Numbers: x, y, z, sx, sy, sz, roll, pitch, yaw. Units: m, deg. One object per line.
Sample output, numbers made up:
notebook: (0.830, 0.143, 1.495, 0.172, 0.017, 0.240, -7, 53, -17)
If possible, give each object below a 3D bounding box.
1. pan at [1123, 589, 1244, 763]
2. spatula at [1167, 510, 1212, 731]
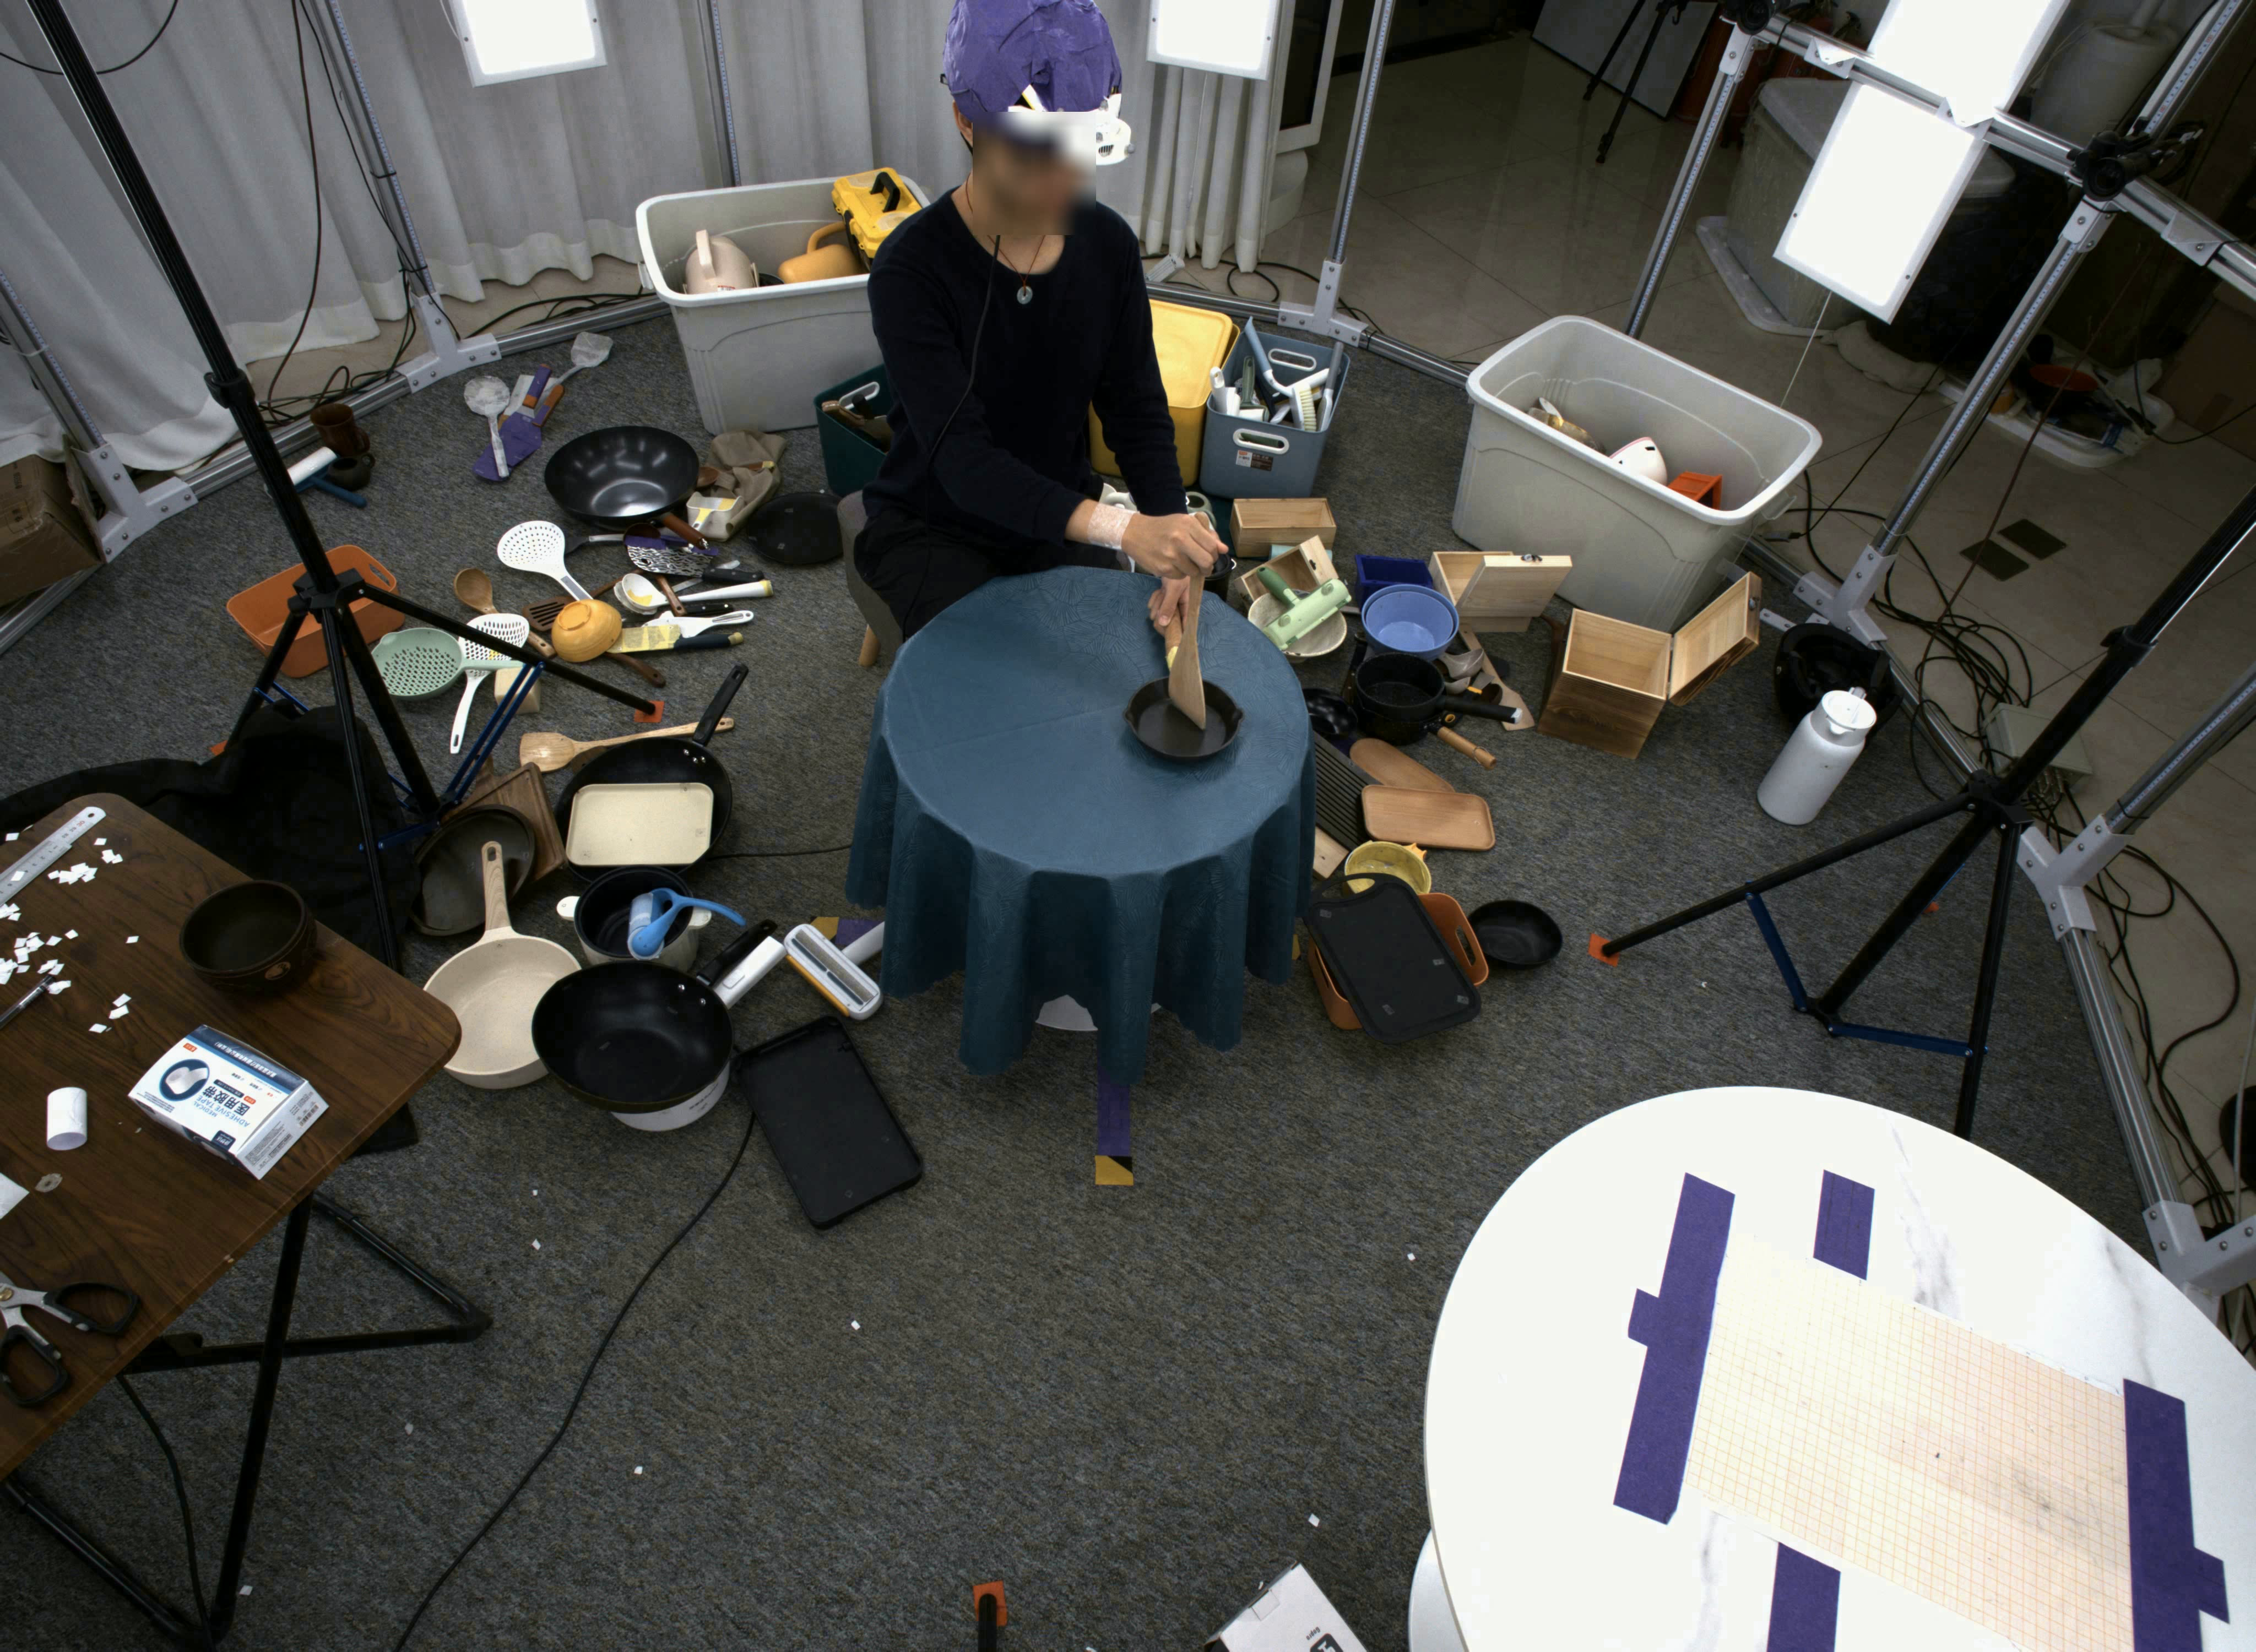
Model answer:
pan: (0.073, -0.215, 1.827, 0.169, 0.048, 0.332, 0, 50, -4)
spatula: (0.088, -0.270, 1.701, 0.016, 0.320, 0.081, -26, 49, -31)
